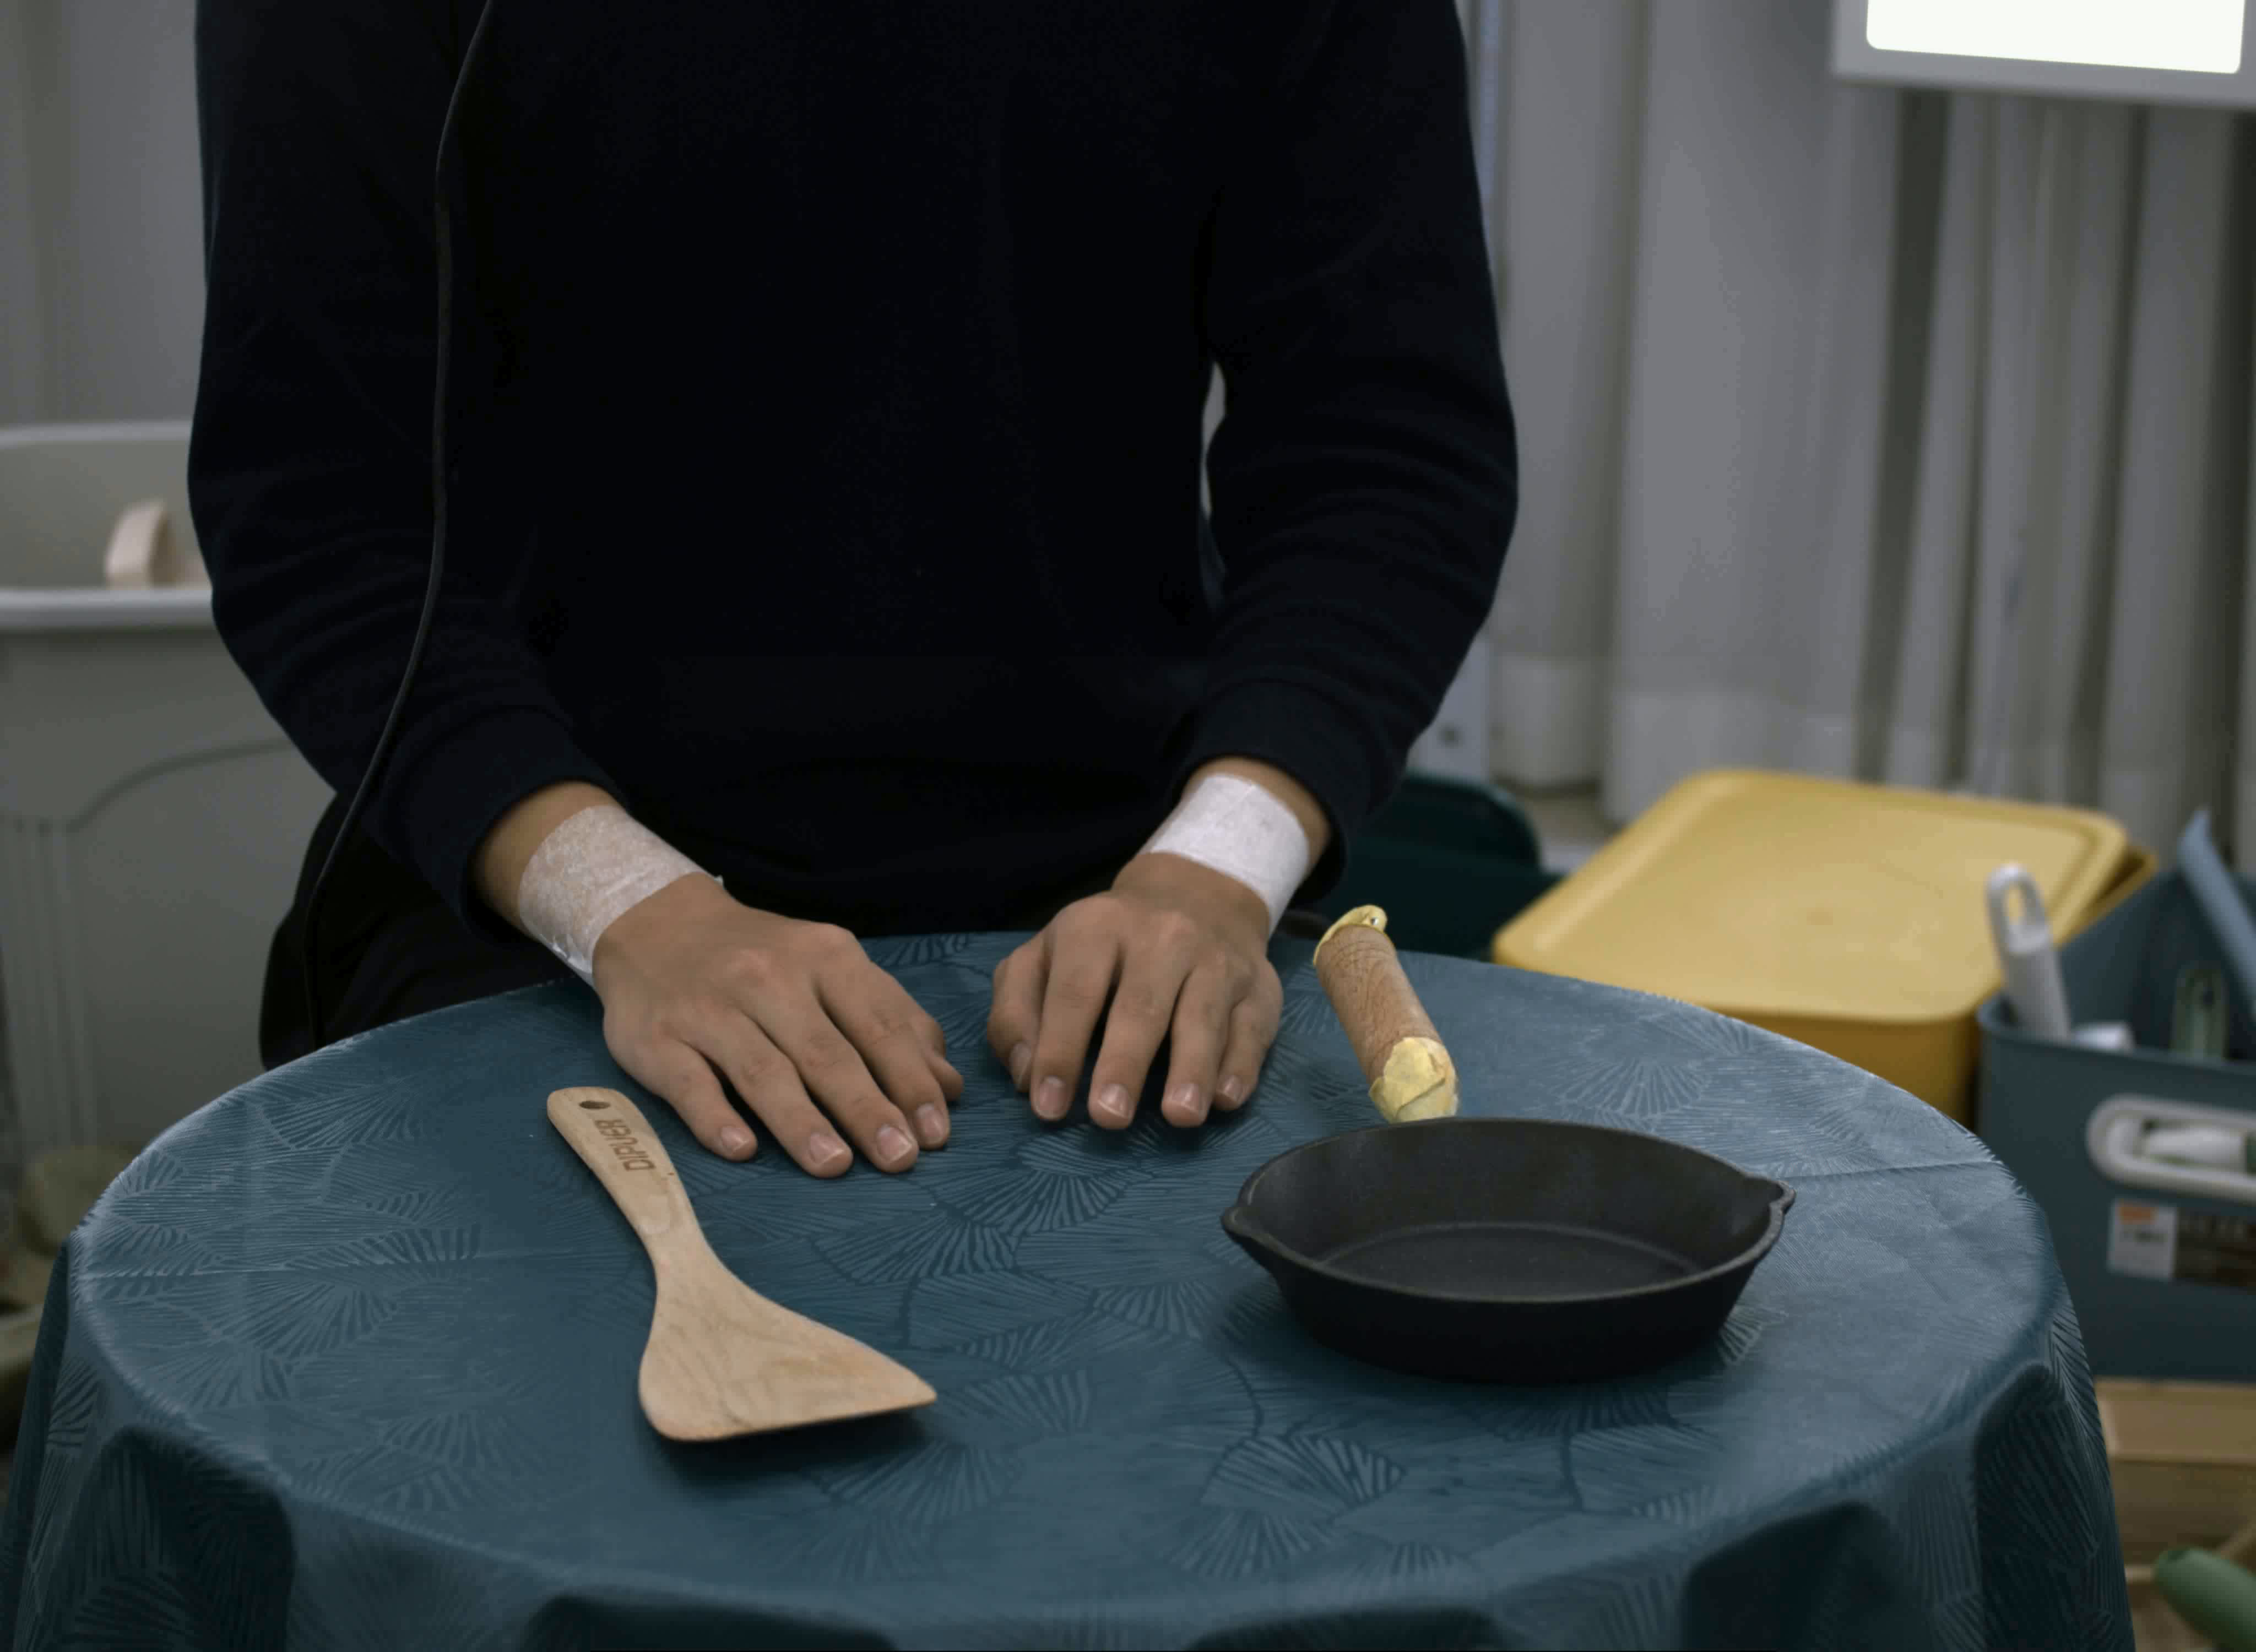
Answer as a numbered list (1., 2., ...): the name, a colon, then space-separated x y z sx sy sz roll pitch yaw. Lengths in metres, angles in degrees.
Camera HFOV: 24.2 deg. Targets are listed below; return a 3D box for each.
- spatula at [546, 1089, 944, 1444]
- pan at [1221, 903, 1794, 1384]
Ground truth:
1. spatula: -0.129 0.124 1.545 0.080 0.016 0.324 -4 16 -17
2. pan: 0.098 0.093 1.601 0.169 0.050 0.321 -2 17 -8
